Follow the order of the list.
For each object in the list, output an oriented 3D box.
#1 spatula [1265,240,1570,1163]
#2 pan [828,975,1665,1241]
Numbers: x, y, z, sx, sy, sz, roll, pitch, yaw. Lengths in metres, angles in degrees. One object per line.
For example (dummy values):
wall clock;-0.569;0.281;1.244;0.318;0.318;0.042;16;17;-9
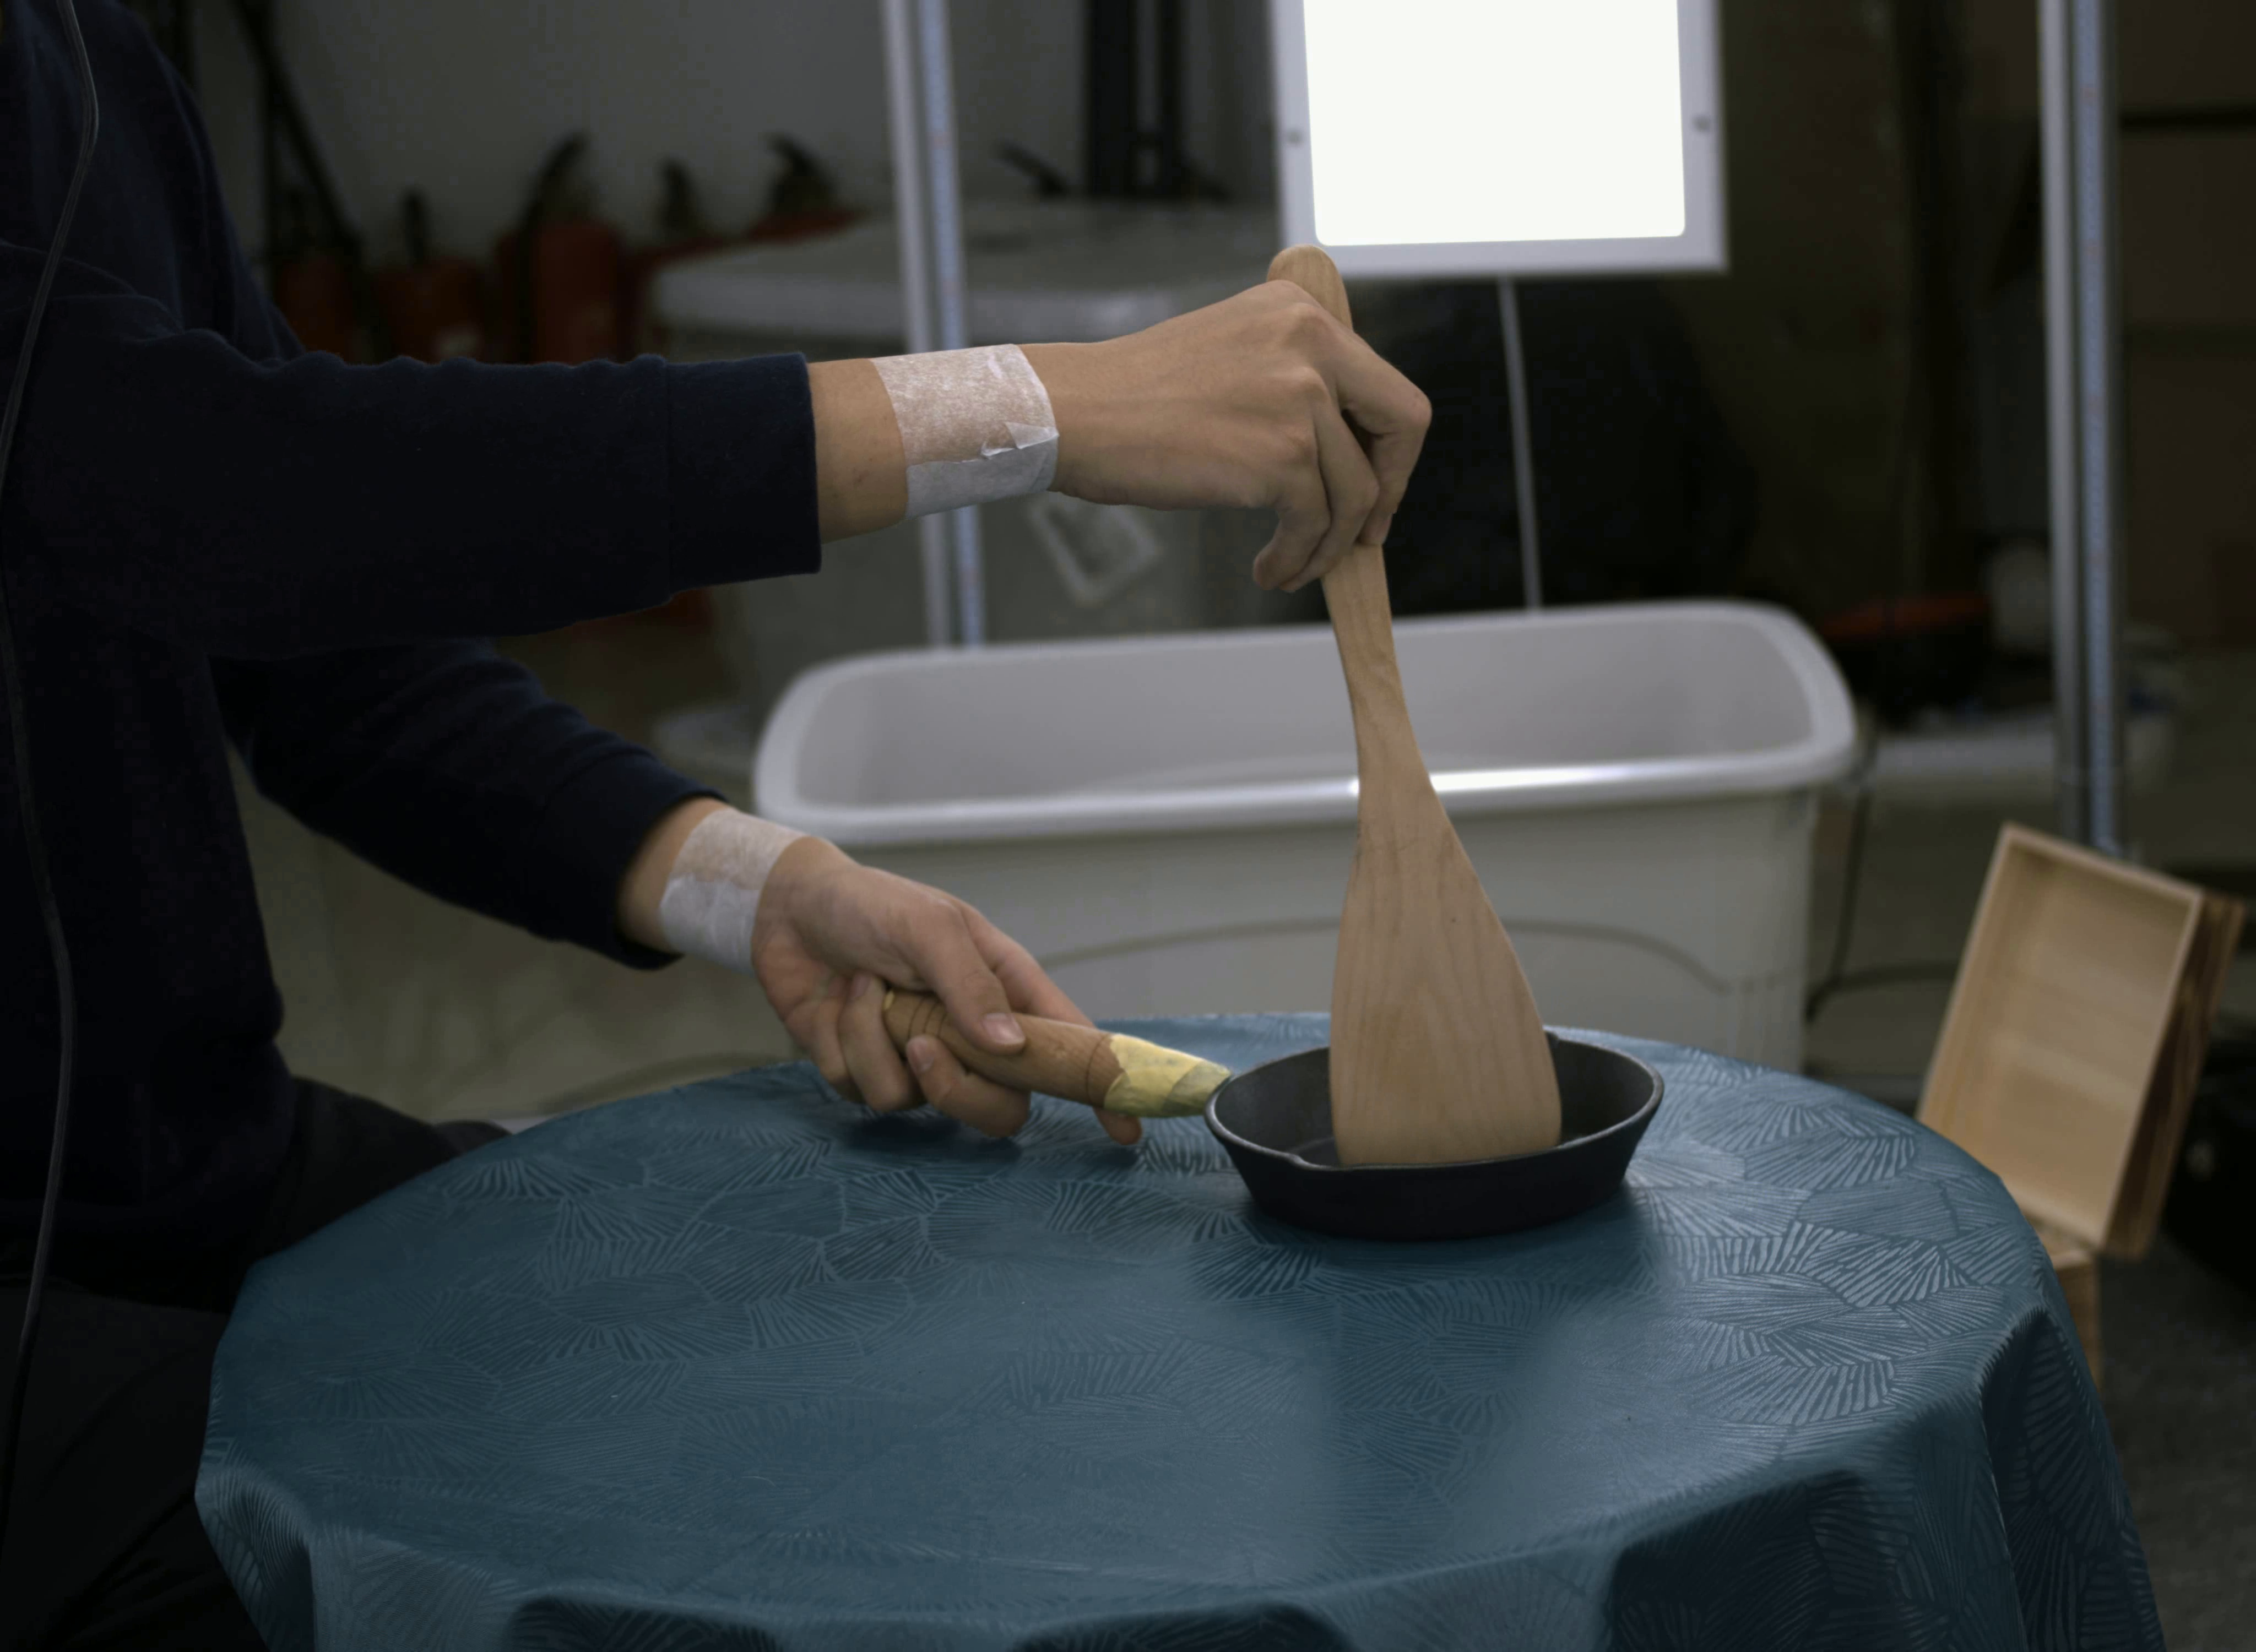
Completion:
spatula;0.085;-0.033;1.840;0.079;0.328;0.016;-11;4;-1
pan;0.033;0.092;1.917;0.330;0.050;0.165;6;17;33
